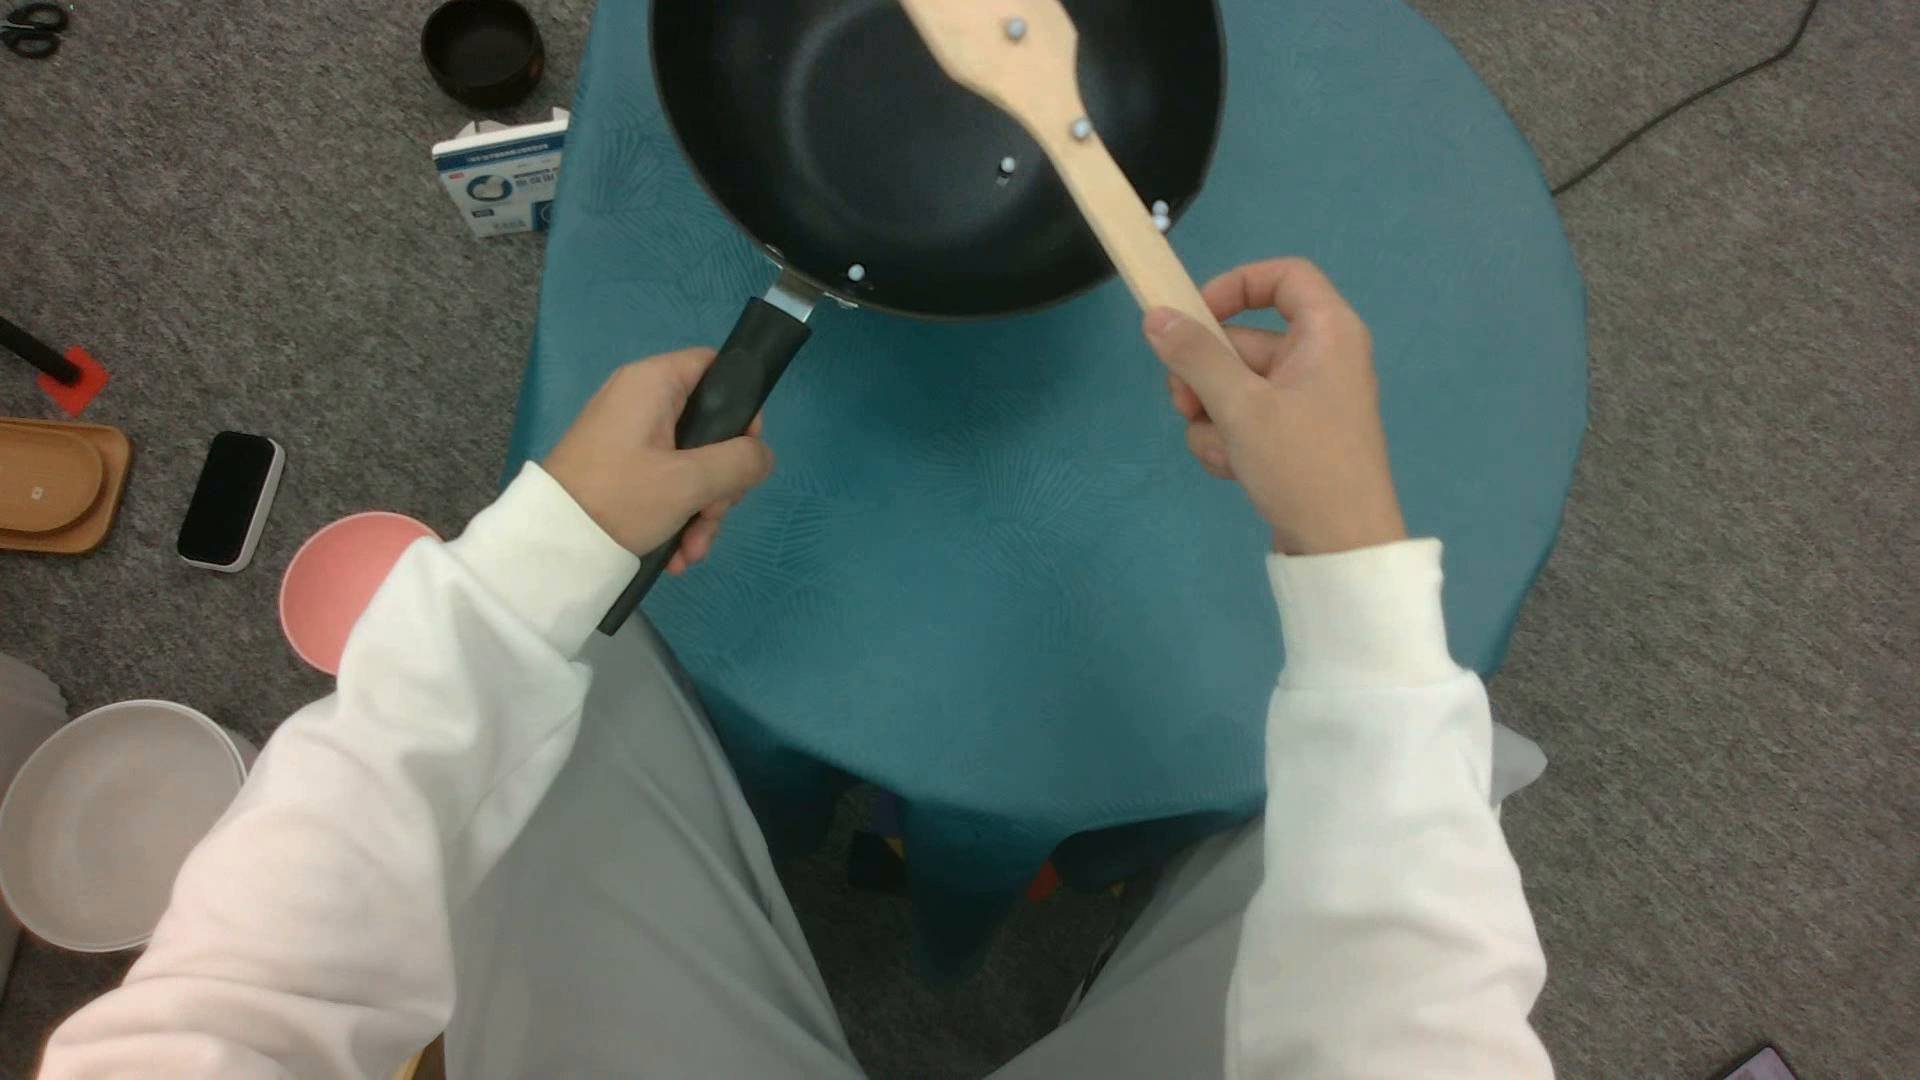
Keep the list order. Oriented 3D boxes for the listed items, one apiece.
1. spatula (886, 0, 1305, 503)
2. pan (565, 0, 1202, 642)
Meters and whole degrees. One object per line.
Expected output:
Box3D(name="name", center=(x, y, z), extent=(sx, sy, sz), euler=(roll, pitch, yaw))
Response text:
Box3D(name="spatula", center=(0.061, -0.142, 0.587), extent=(0.072, 0.010, 0.293), euler=(-30, 85, -29))
Box3D(name="pan", center=(-0.062, -0.151, 0.702), extent=(0.288, 0.086, 0.464), euler=(27, 79, -1))
